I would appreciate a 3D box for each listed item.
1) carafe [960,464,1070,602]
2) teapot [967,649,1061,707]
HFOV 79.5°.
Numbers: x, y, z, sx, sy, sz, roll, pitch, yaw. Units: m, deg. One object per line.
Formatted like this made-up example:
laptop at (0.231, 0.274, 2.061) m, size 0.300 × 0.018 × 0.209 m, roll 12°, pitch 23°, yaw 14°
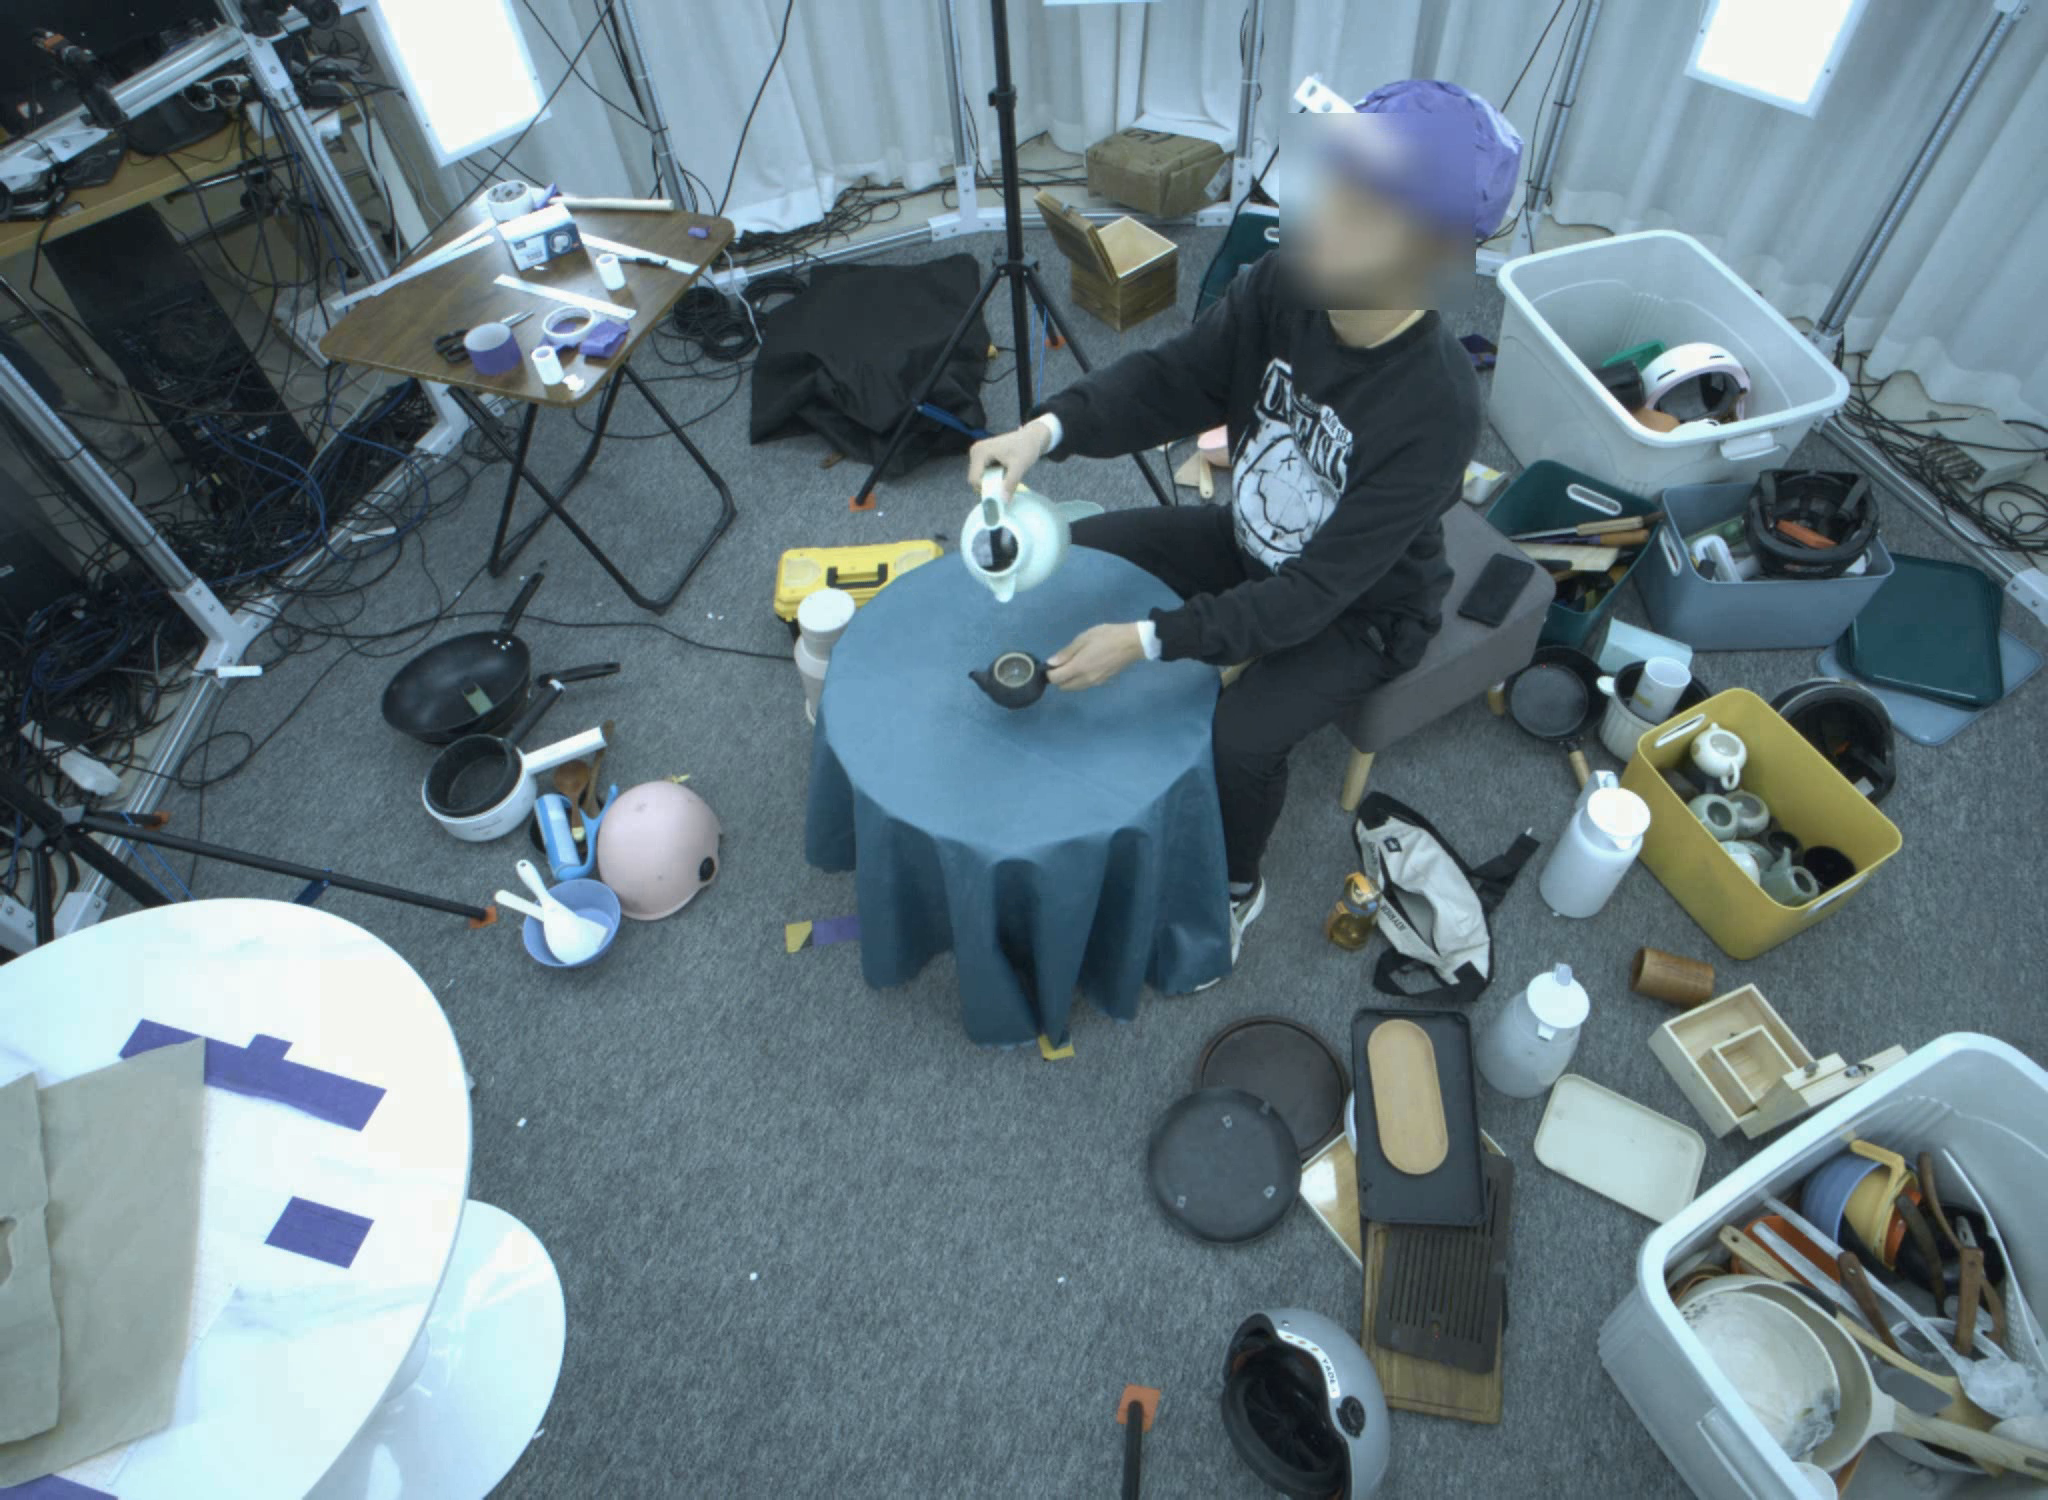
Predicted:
carafe at (-0.023, -0.309, 1.726) m, size 0.143 × 0.187 × 0.257 m, roll -5°, pitch 11°, yaw 10°
teapot at (-0.013, -0.106, 1.765) m, size 0.133 × 0.053 × 0.090 m, roll -6°, pitch 63°, yaw 0°
